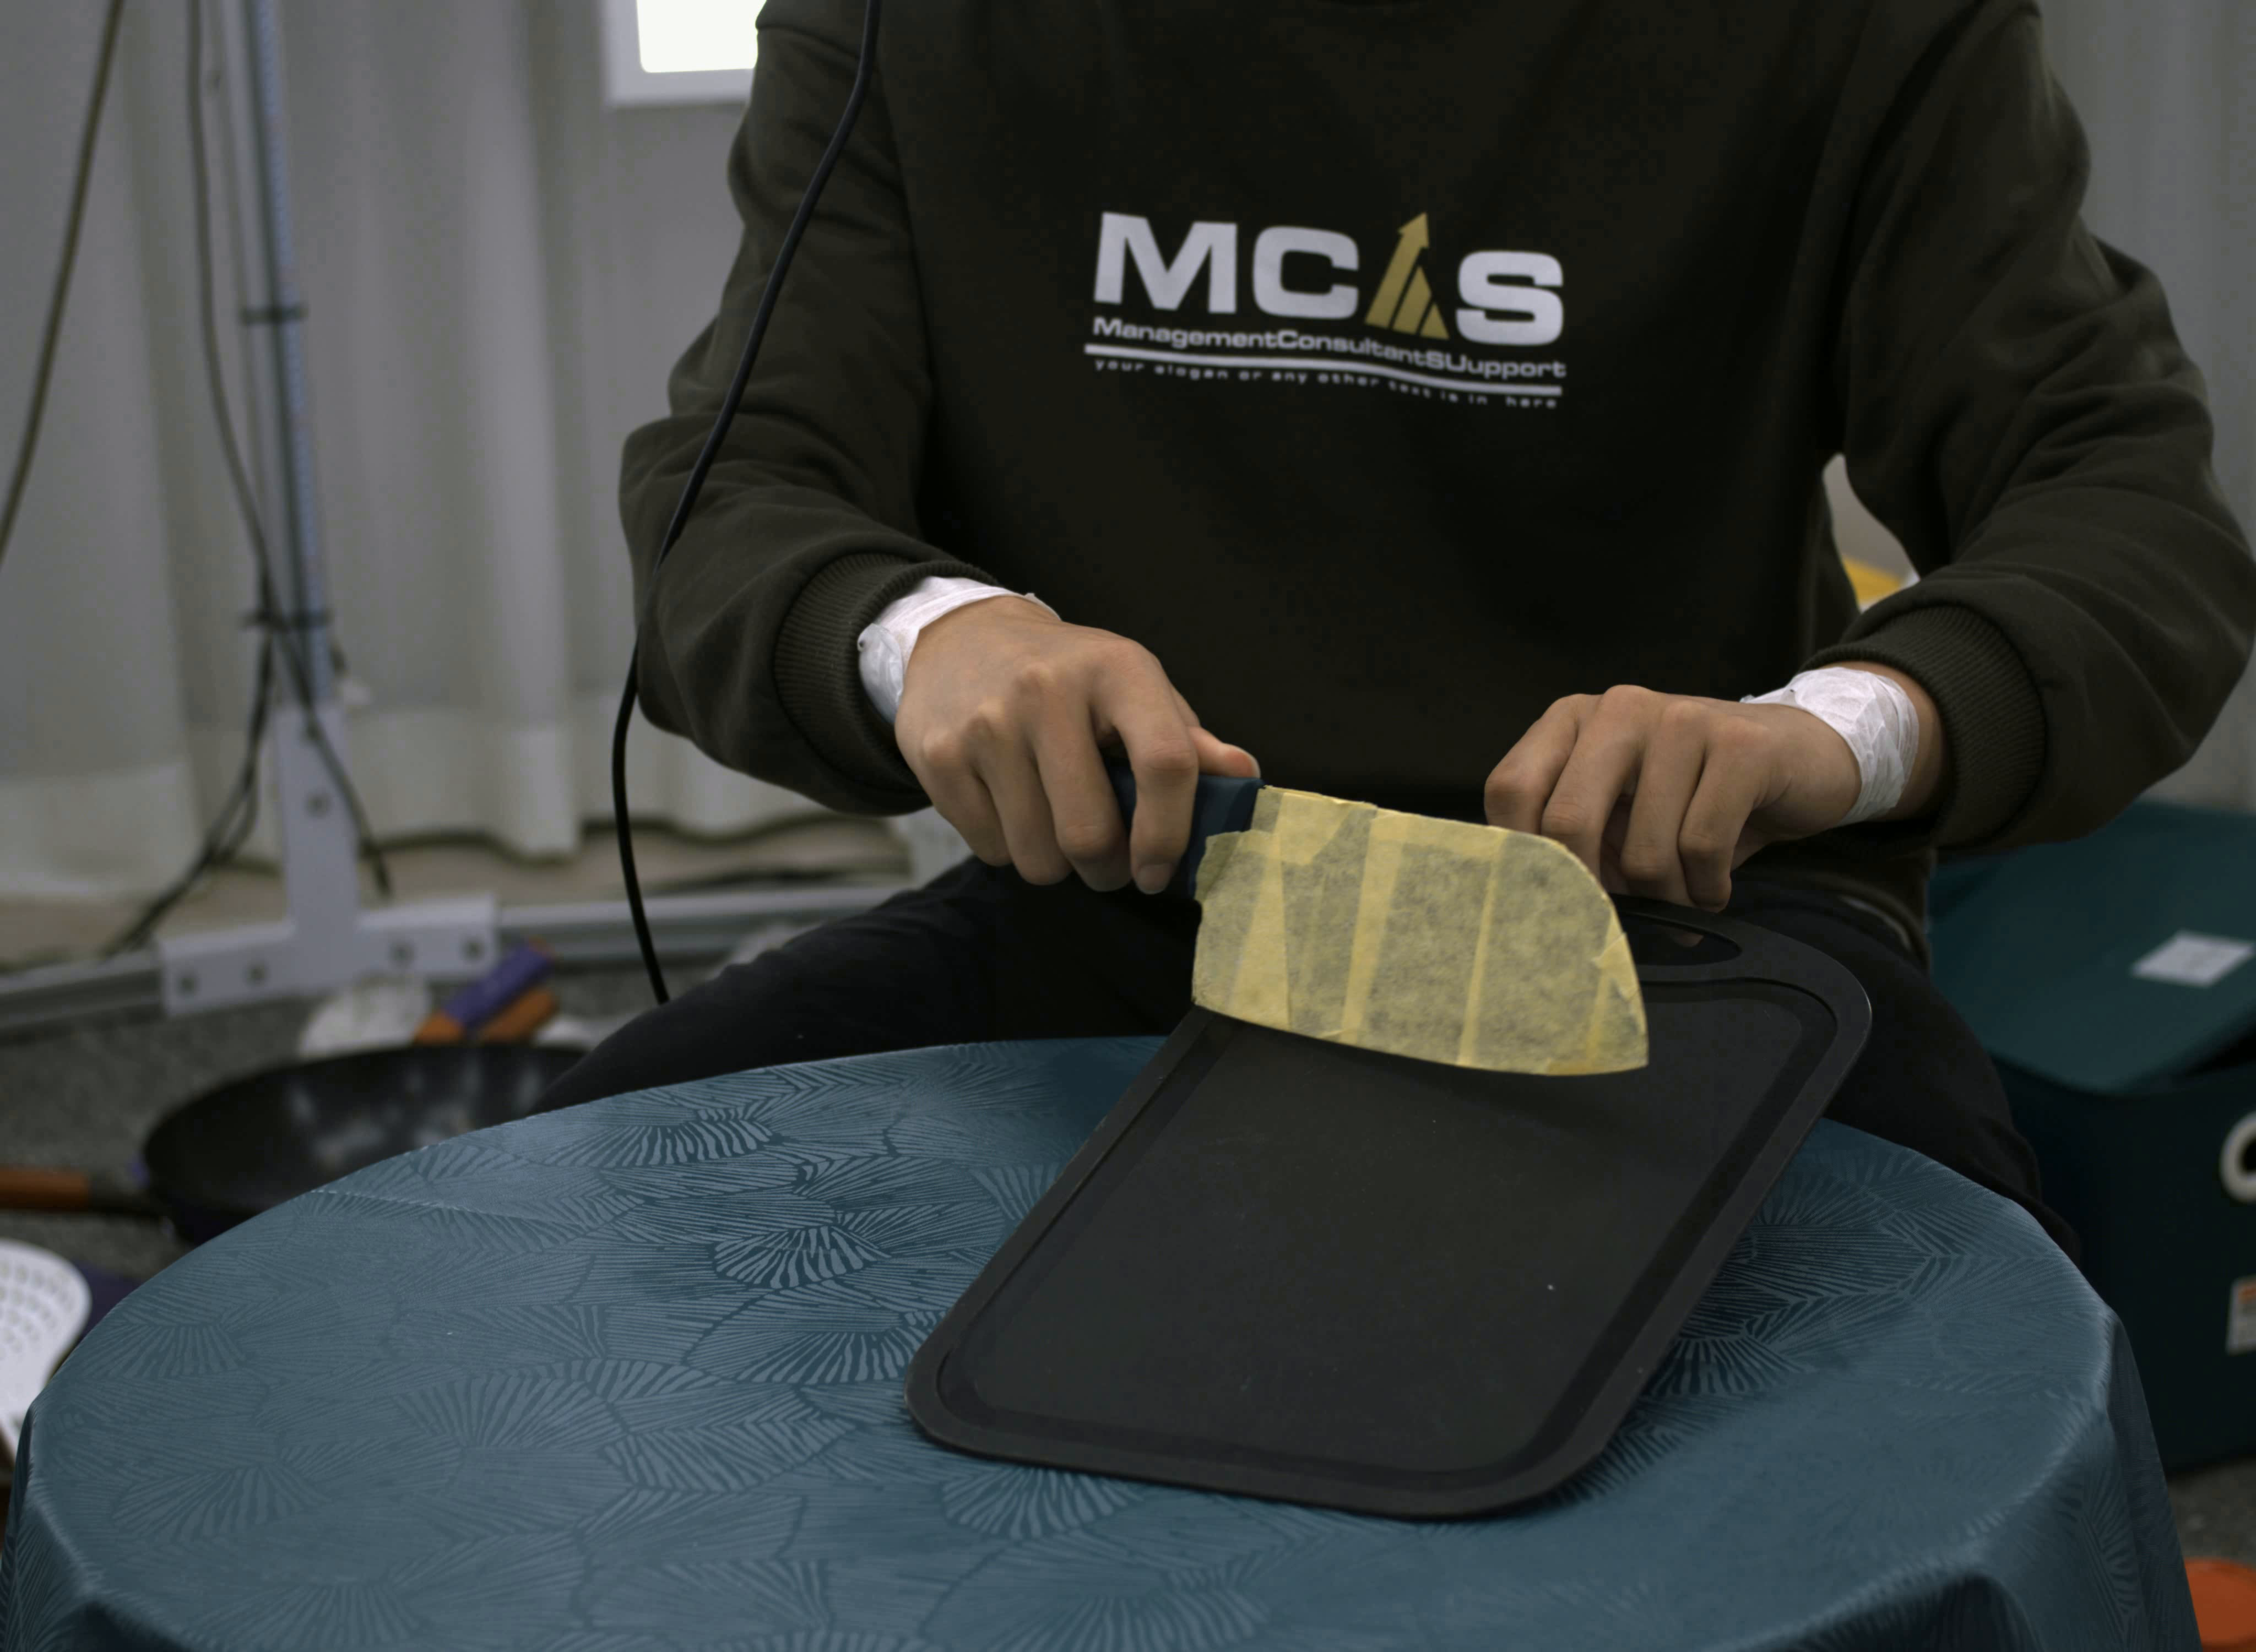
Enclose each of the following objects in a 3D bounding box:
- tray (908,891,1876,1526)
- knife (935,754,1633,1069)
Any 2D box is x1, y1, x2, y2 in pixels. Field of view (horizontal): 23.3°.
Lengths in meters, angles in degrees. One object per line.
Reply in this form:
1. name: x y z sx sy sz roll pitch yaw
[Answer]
1. tray: 0.084 0.099 1.594 0.211 0.010 0.328 6 31 27
2. knife: 0.043 0.024 1.680 0.291 0.081 0.027 15 0 43
